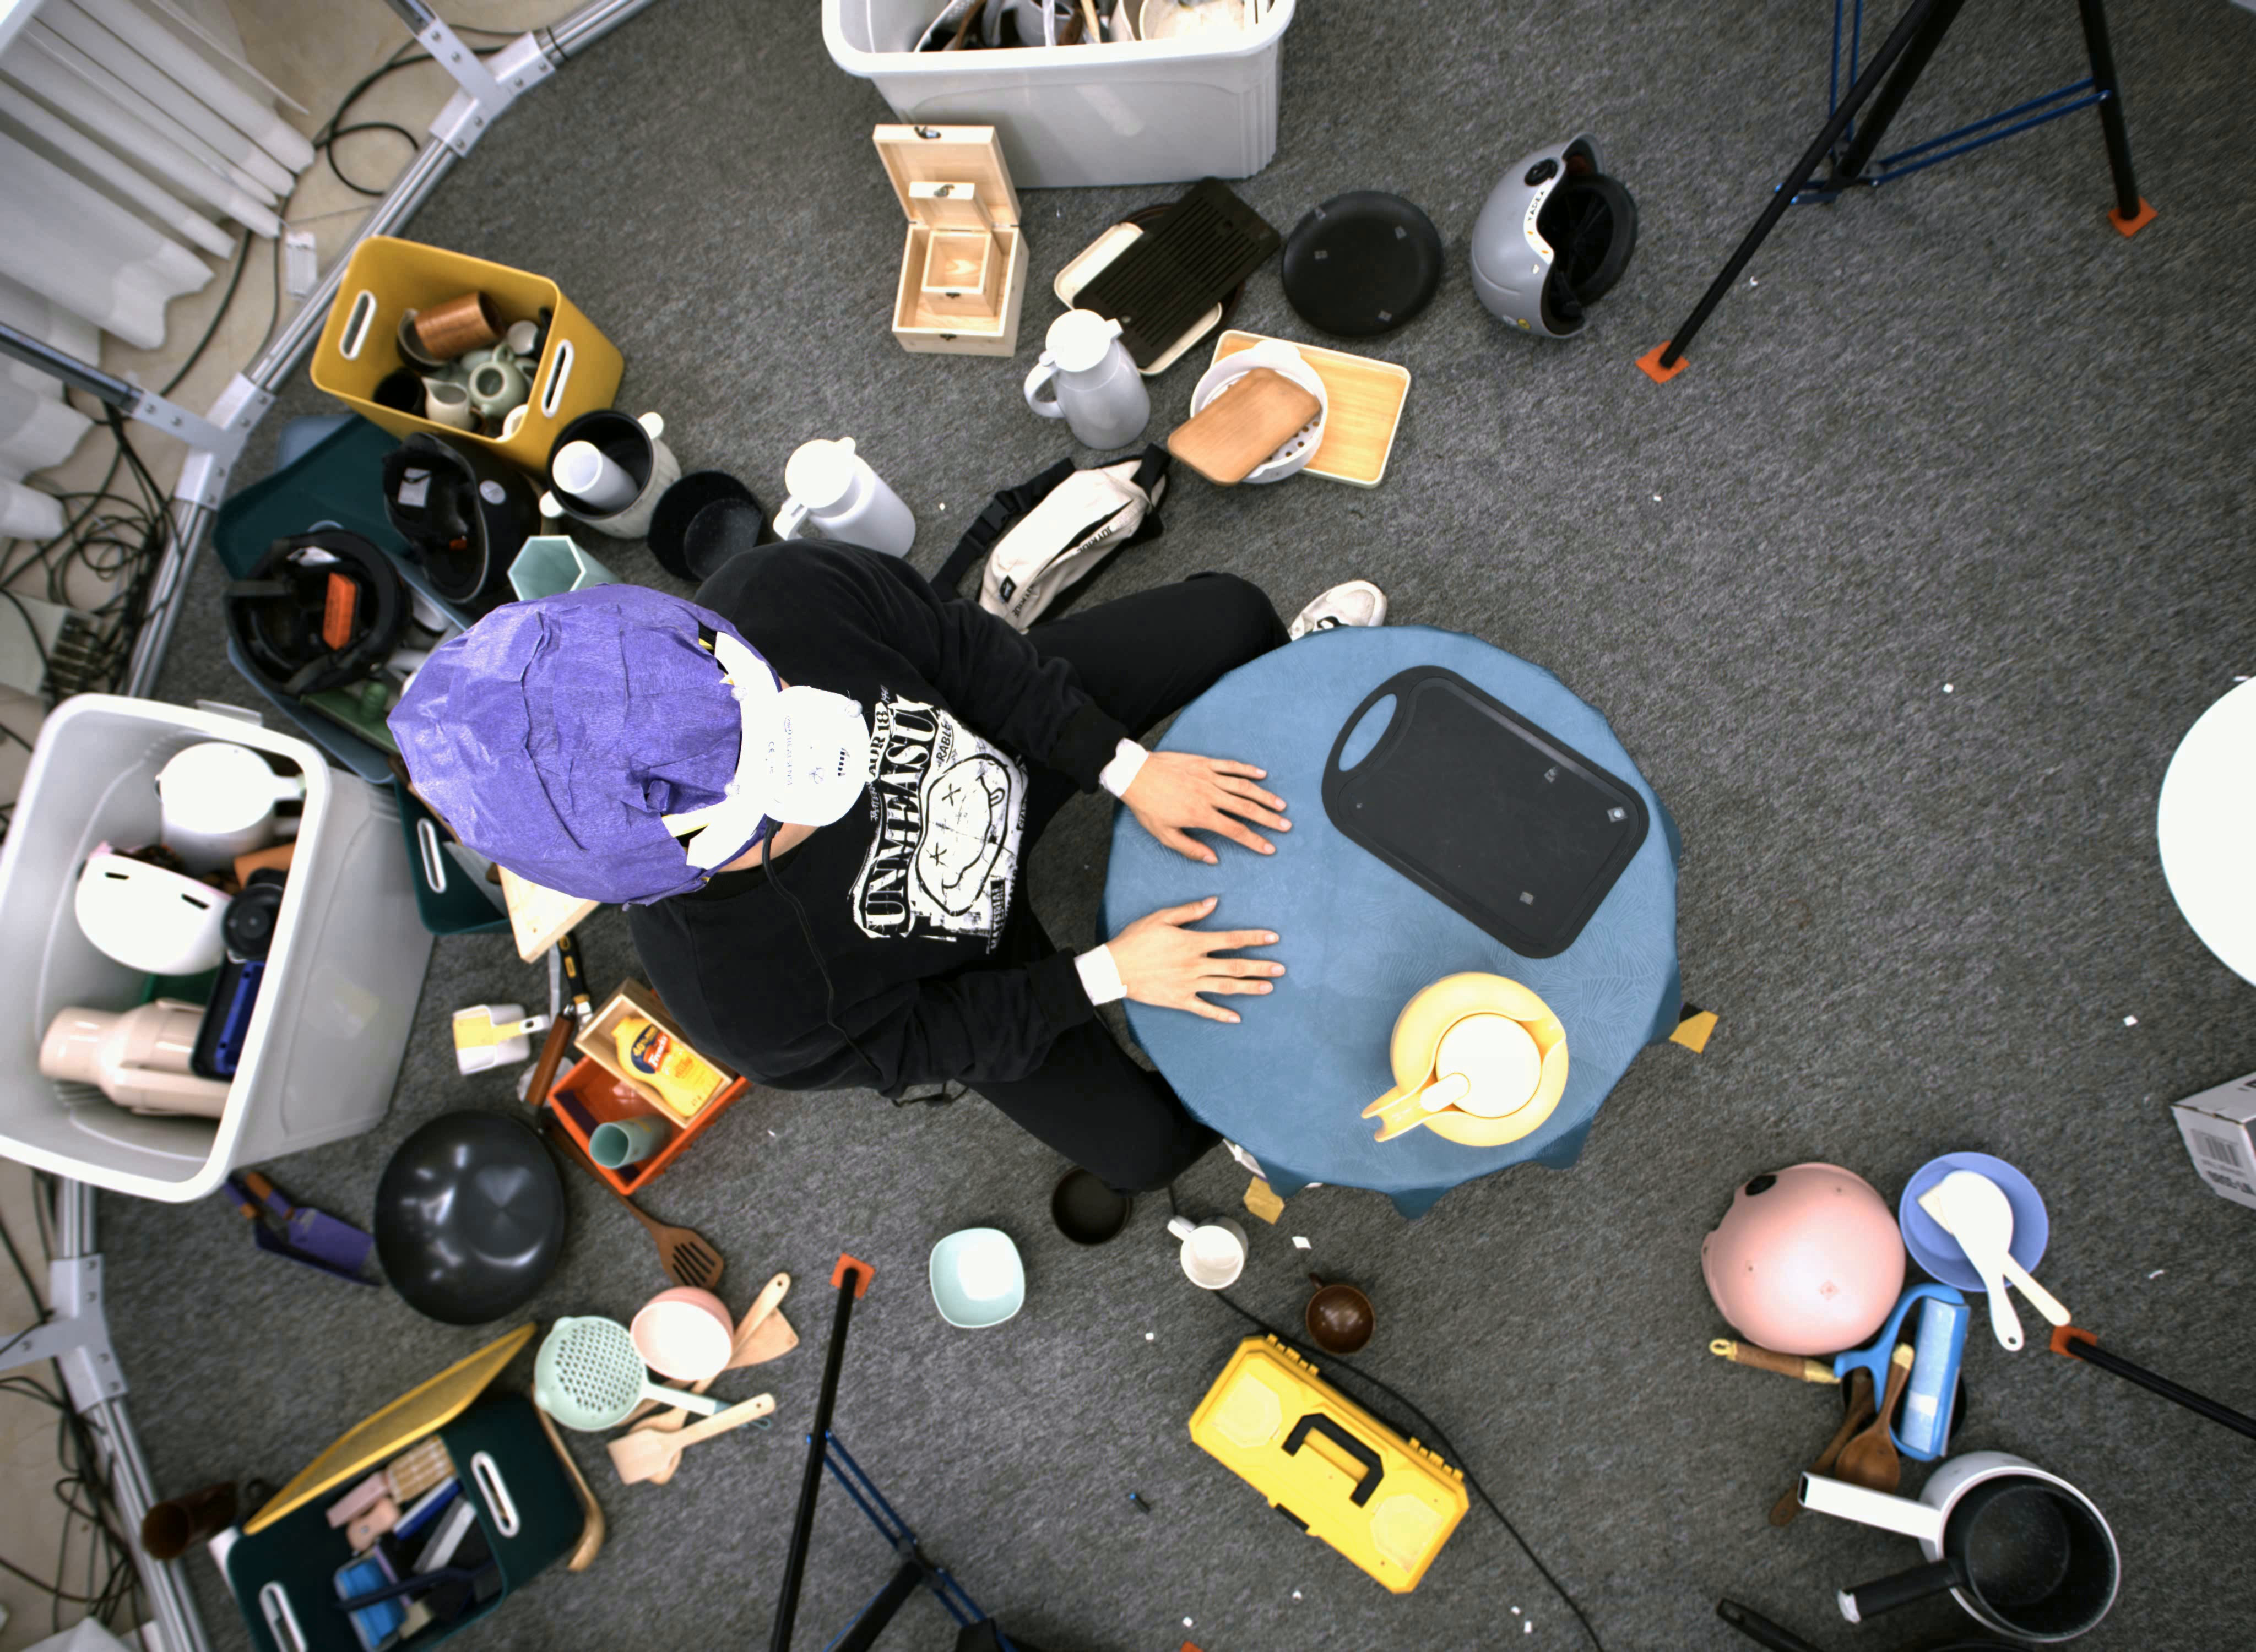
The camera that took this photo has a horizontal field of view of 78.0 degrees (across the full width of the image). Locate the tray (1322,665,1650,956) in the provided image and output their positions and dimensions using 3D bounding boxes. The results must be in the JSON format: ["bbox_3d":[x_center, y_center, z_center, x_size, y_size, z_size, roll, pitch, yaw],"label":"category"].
[{"bbox_3d":[0.366,-0.025,1.444,0.324,0.010,0.212,36,94,10],"label":"tray"}]

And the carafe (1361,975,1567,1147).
[{"bbox_3d":[0.314,0.229,1.312,0.203,0.261,0.162,-29,79,5],"label":"carafe"}]
